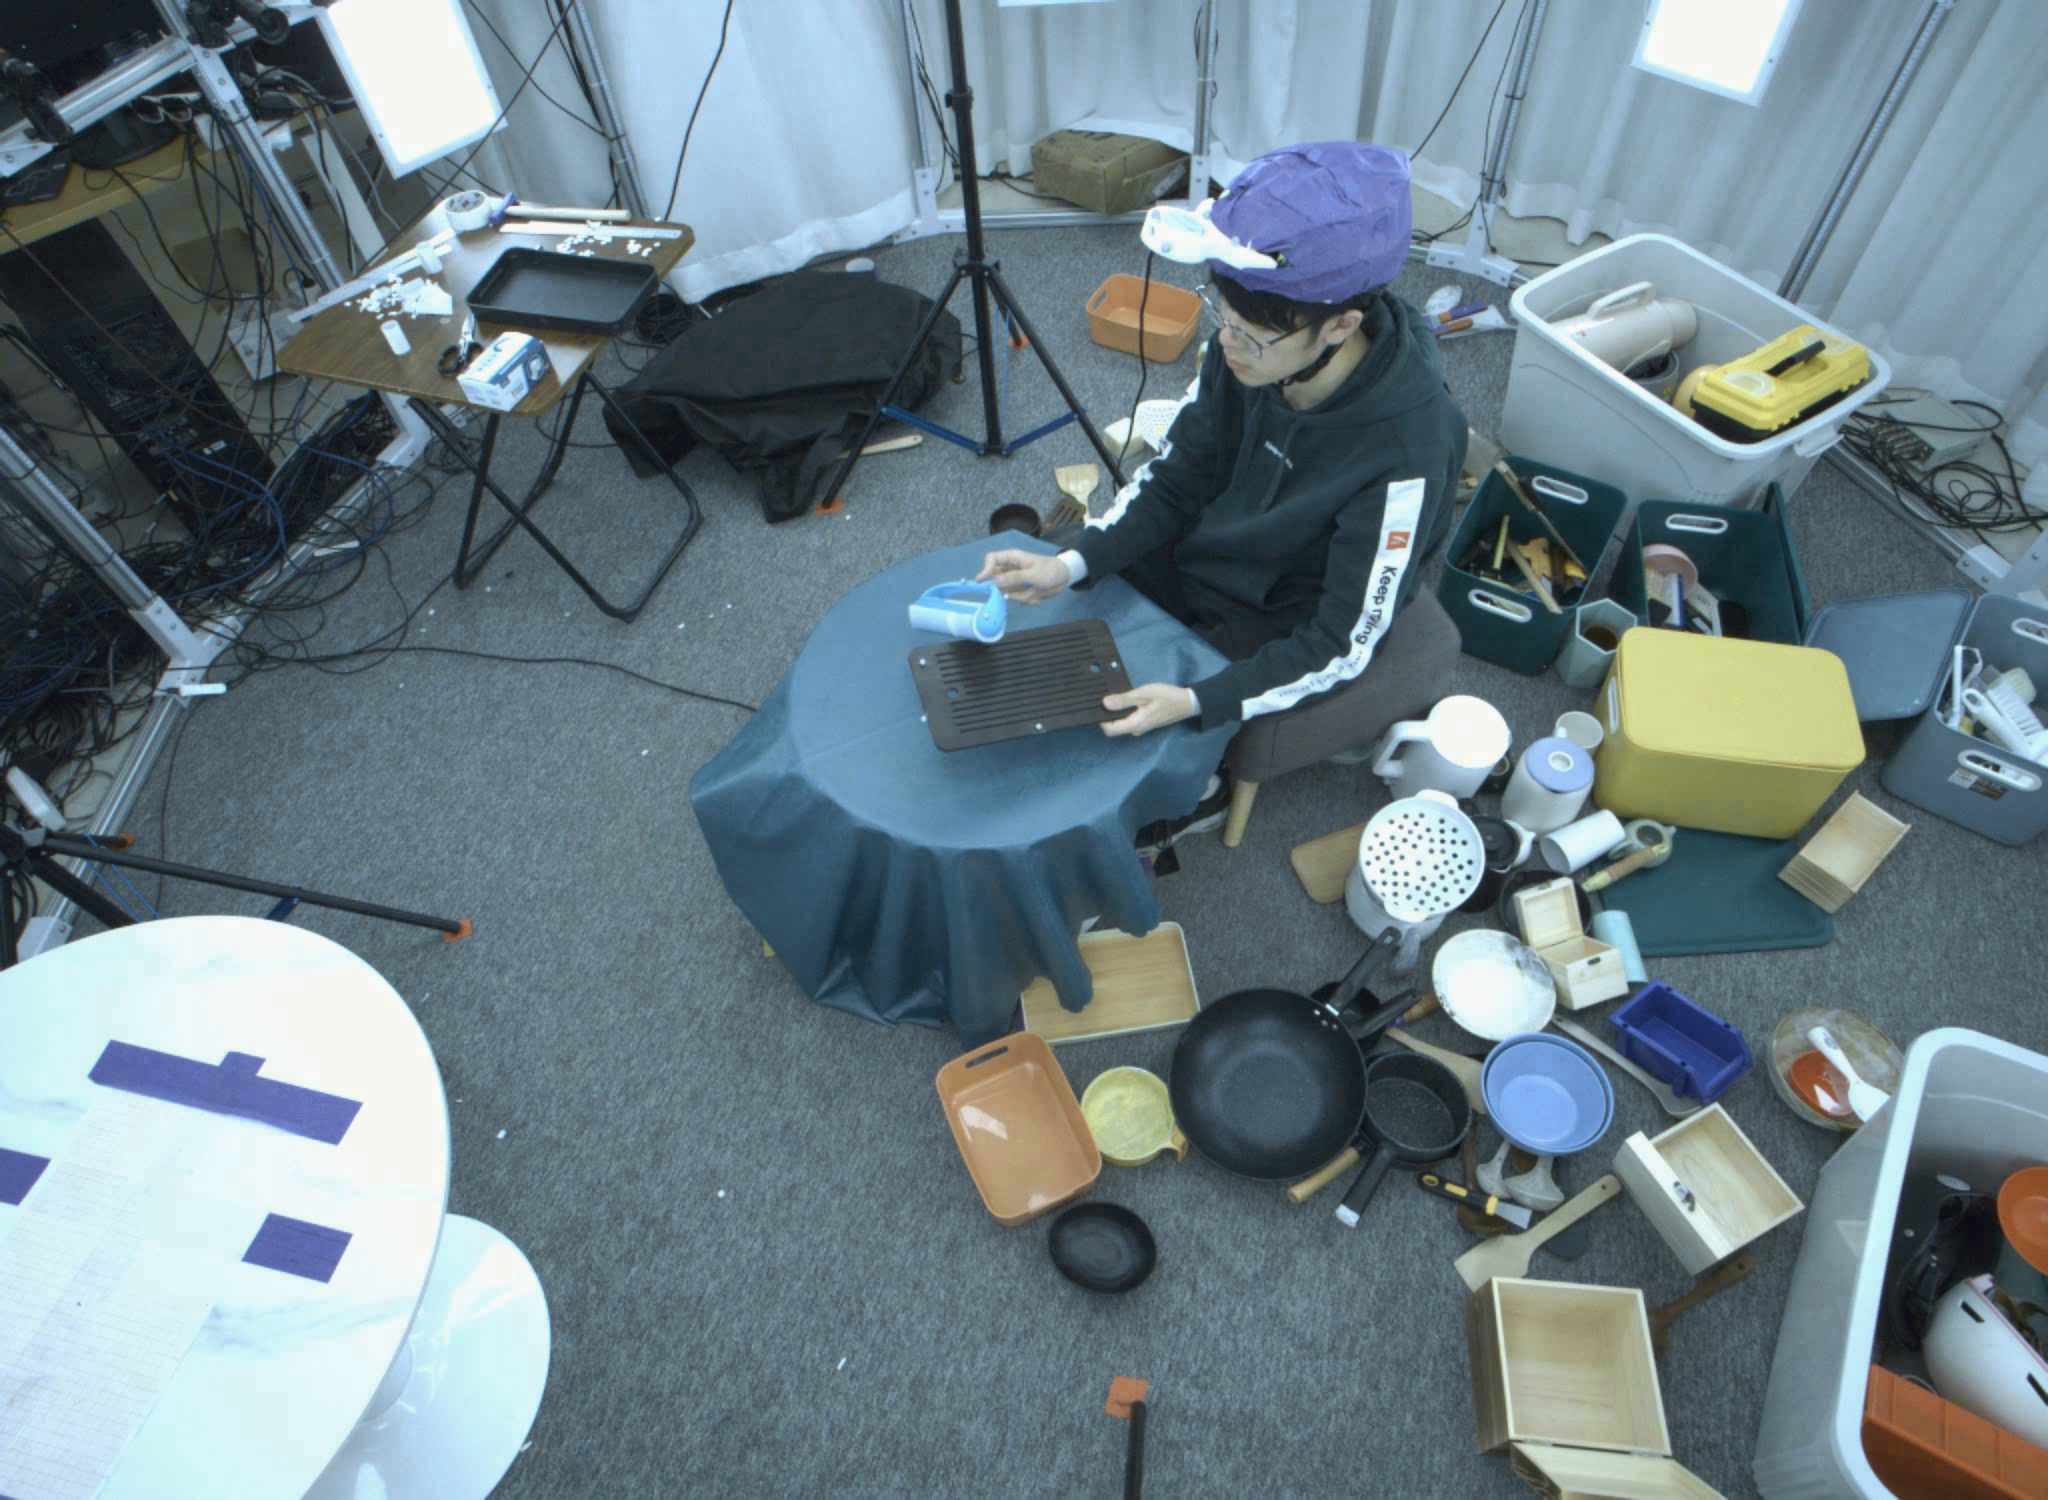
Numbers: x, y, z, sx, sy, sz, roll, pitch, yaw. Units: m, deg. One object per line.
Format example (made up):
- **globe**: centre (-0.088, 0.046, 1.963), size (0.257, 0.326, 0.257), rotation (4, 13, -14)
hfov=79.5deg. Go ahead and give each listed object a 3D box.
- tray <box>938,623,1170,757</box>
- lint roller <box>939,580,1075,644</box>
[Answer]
- **tray**: centre (0.043, -0.087, 1.735), size (0.309, 0.018, 0.168), rotation (-10, 66, -18)
- **lint roller**: centre (-0.009, -0.215, 1.788), size (0.182, 0.069, 0.224), rotation (-31, 23, -26)
